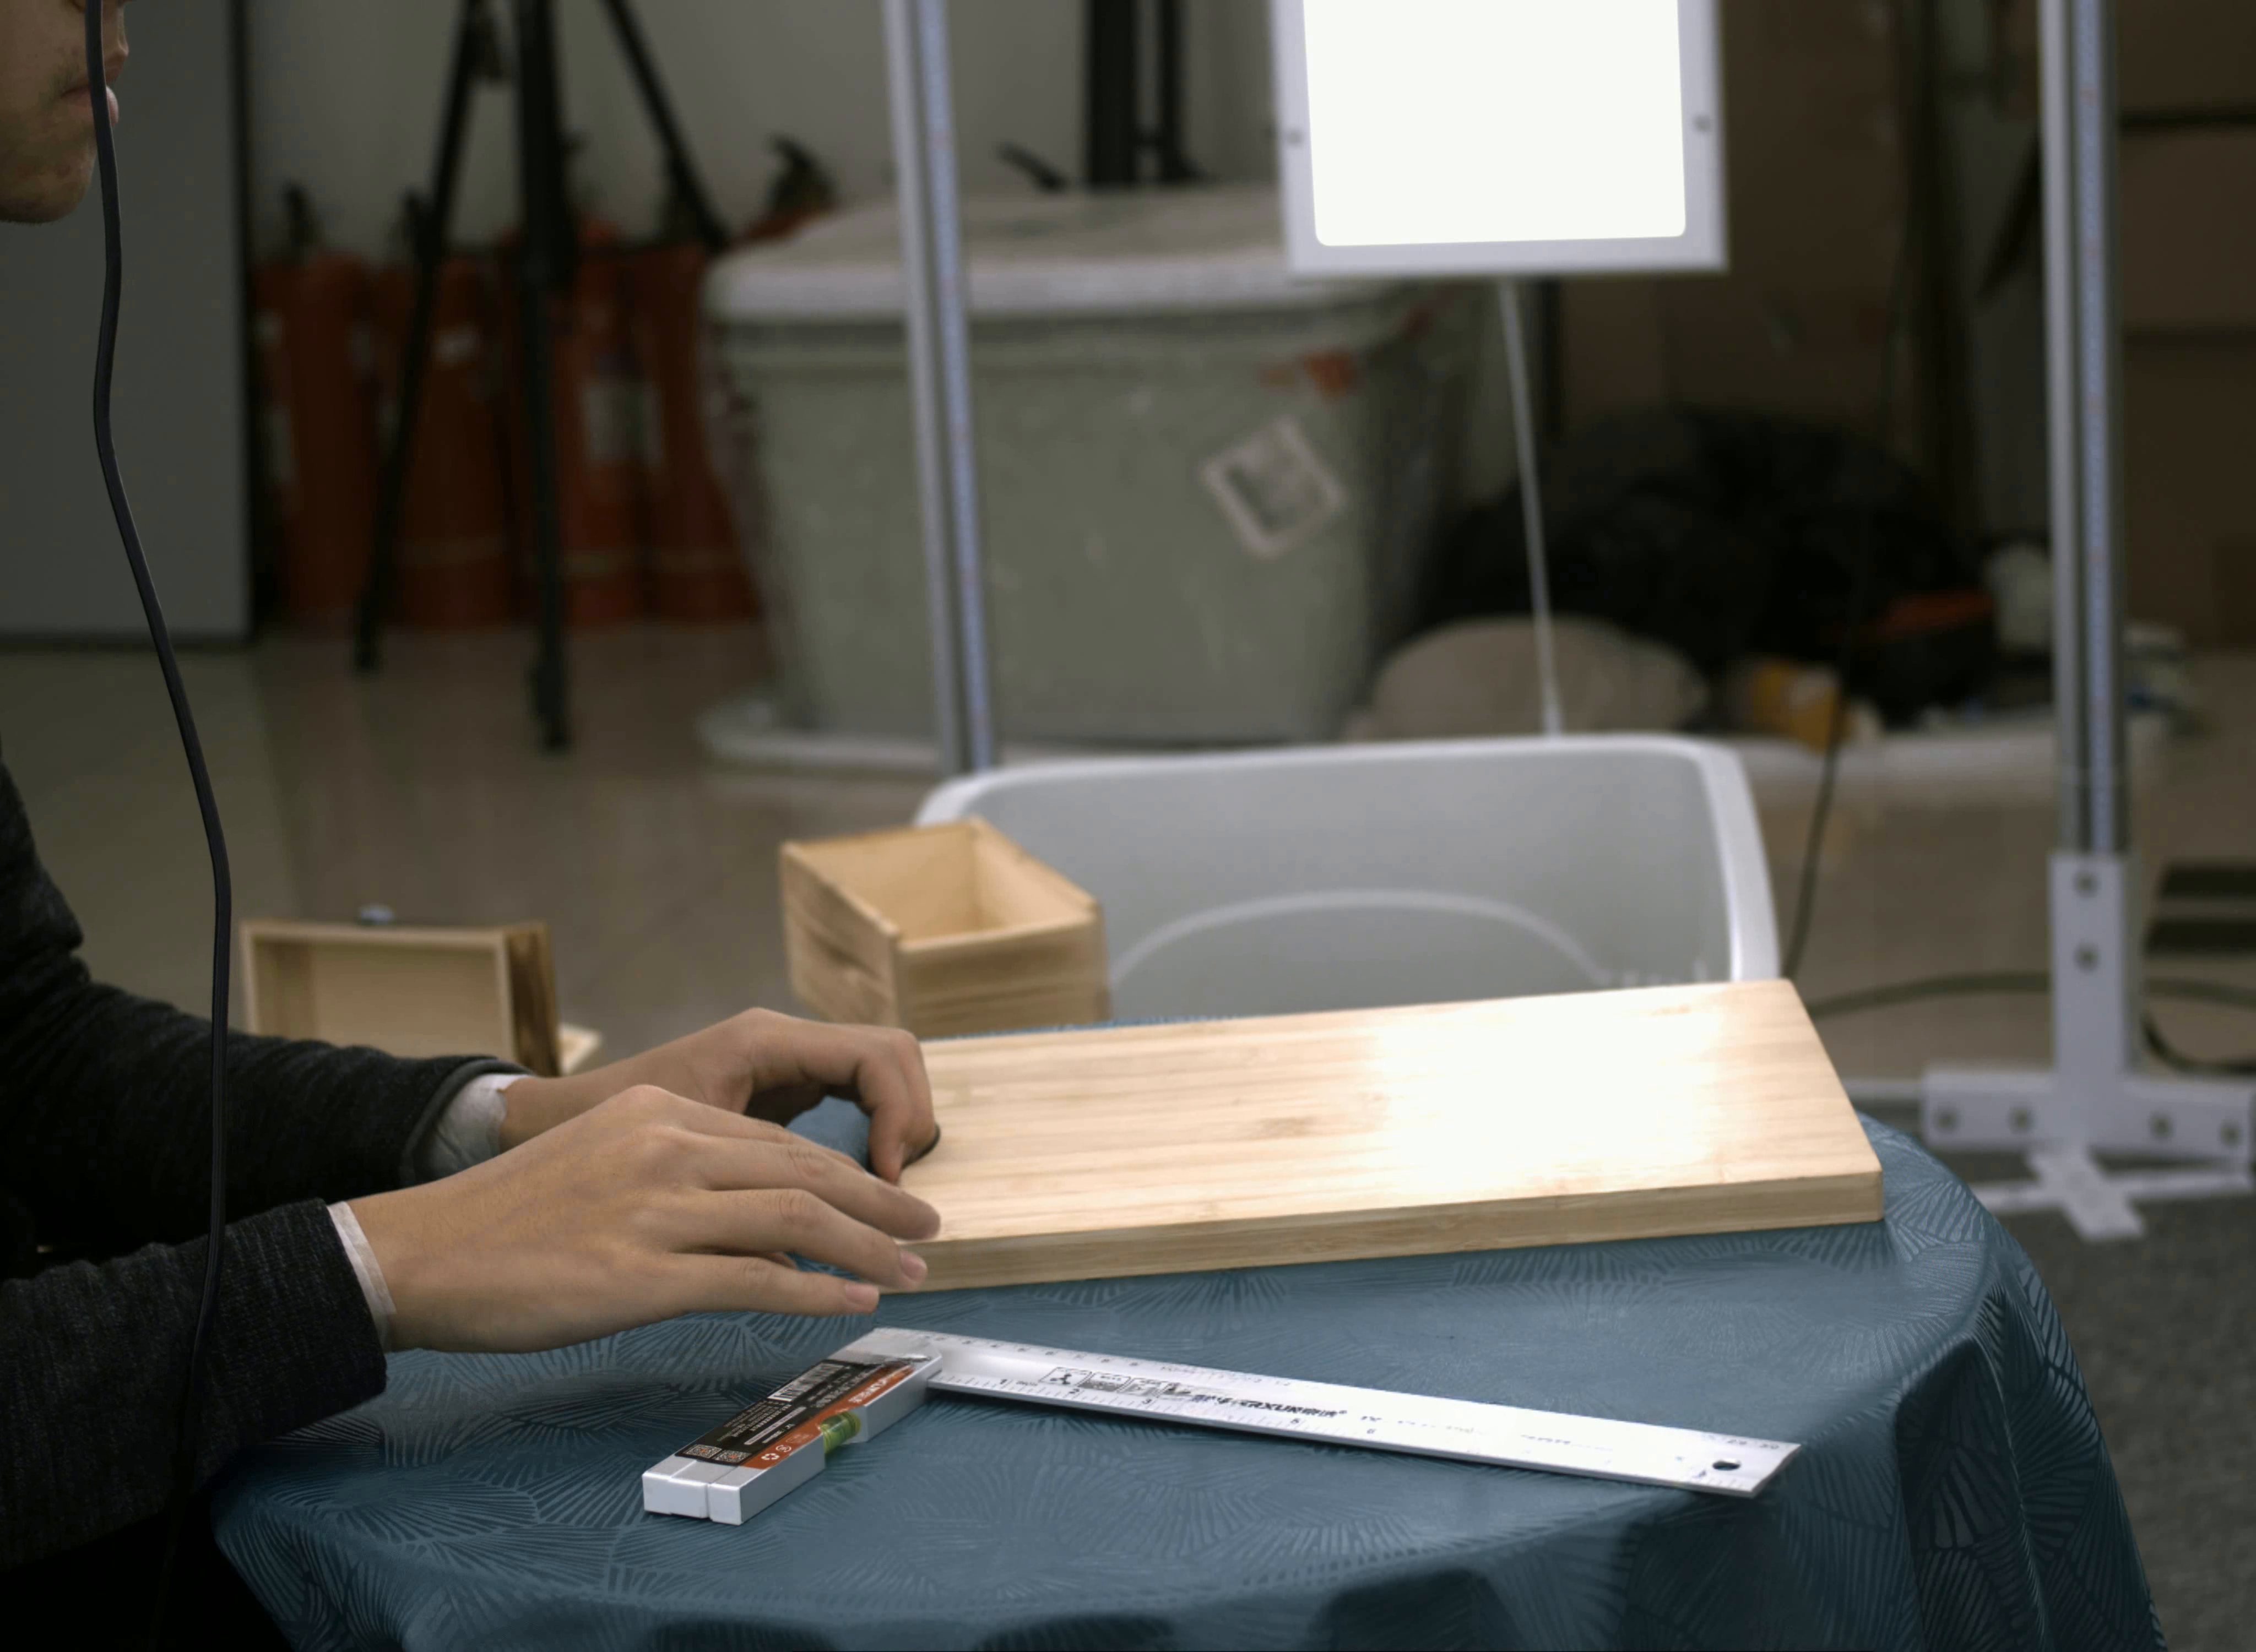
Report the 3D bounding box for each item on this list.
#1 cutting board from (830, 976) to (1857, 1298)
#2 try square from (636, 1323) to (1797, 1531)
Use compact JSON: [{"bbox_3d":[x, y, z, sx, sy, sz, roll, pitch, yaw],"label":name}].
[{"bbox_3d":[0.073,0.106,1.920,0.348,0.023,0.250,-5,14,1],"label":"cutting board"},{"bbox_3d":[0.025,0.190,1.619,0.319,0.016,0.149,4,17,30],"label":"try square"}]
